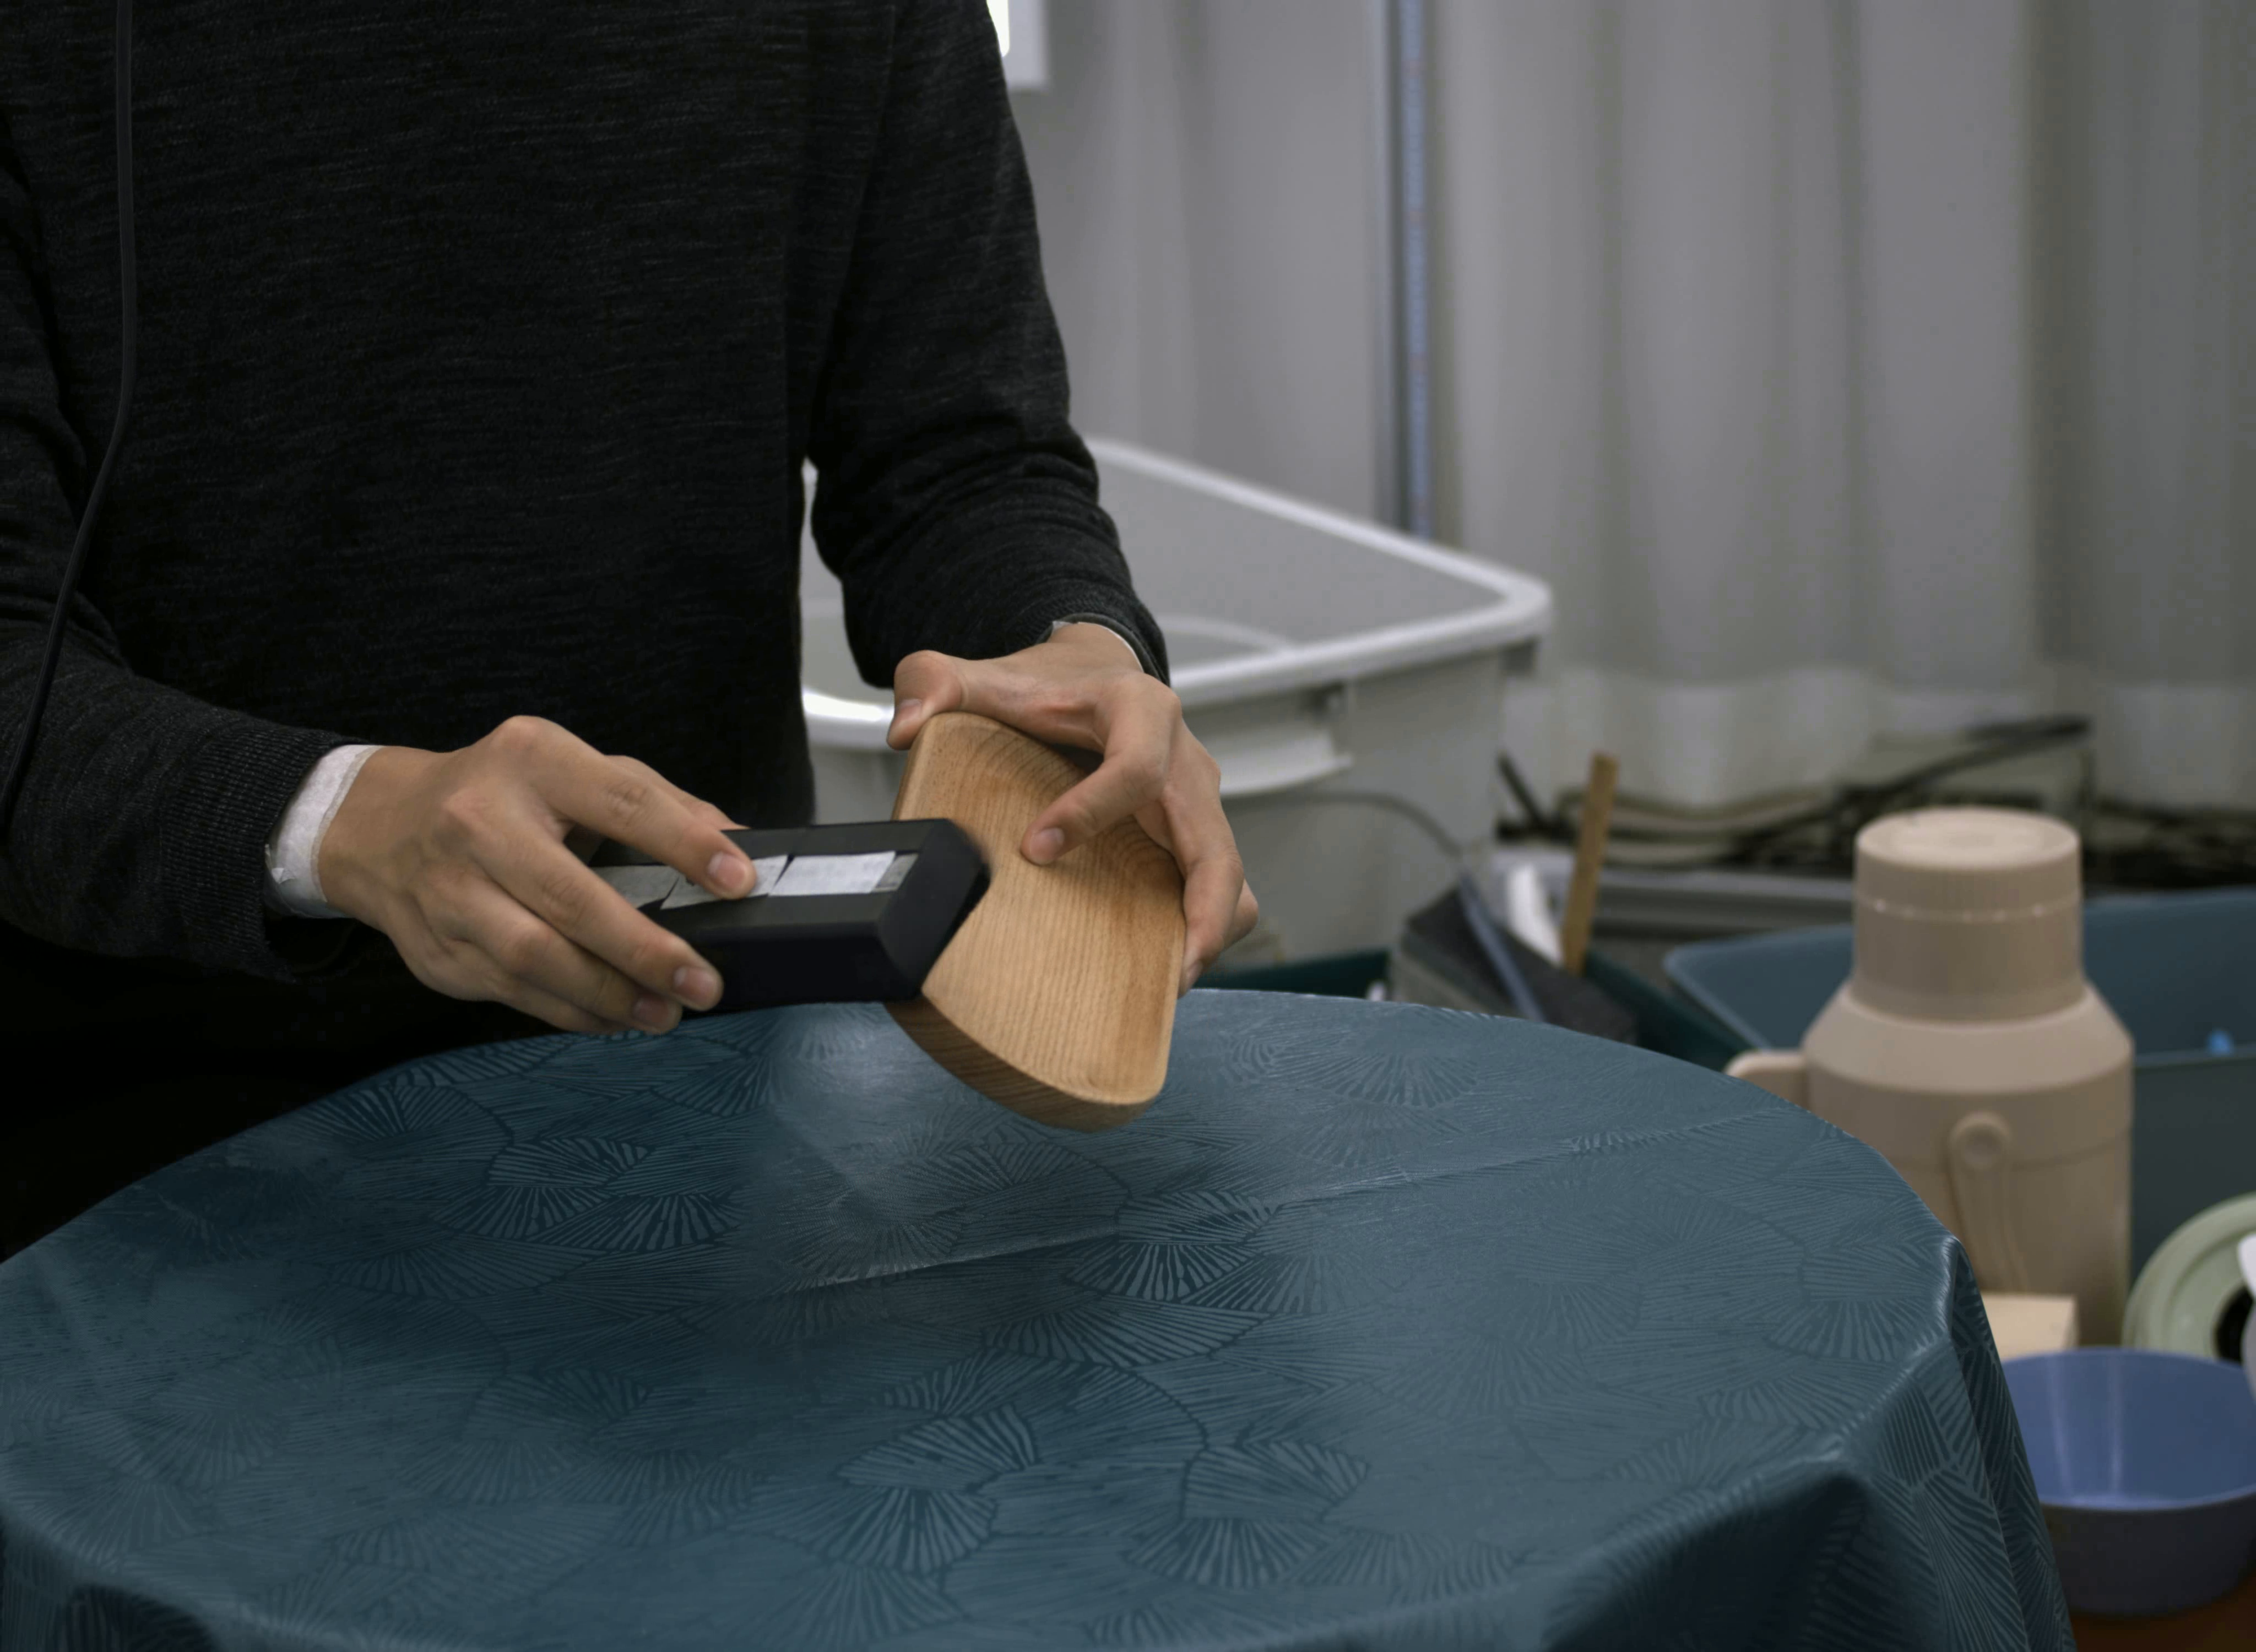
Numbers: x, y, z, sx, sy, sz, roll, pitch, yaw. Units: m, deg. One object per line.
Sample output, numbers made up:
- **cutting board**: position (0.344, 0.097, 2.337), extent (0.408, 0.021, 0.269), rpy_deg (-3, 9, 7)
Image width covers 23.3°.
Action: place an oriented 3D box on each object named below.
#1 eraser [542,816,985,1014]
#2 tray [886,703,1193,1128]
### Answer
- **eraser**: position (-0.104, 0.025, 1.564), extent (0.125, 0.030, 0.054), rpy_deg (-5, 36, 32)
- **tray**: position (-0.029, 0.025, 1.648), extent (0.101, 0.020, 0.233), rpy_deg (33, 20, -10)
